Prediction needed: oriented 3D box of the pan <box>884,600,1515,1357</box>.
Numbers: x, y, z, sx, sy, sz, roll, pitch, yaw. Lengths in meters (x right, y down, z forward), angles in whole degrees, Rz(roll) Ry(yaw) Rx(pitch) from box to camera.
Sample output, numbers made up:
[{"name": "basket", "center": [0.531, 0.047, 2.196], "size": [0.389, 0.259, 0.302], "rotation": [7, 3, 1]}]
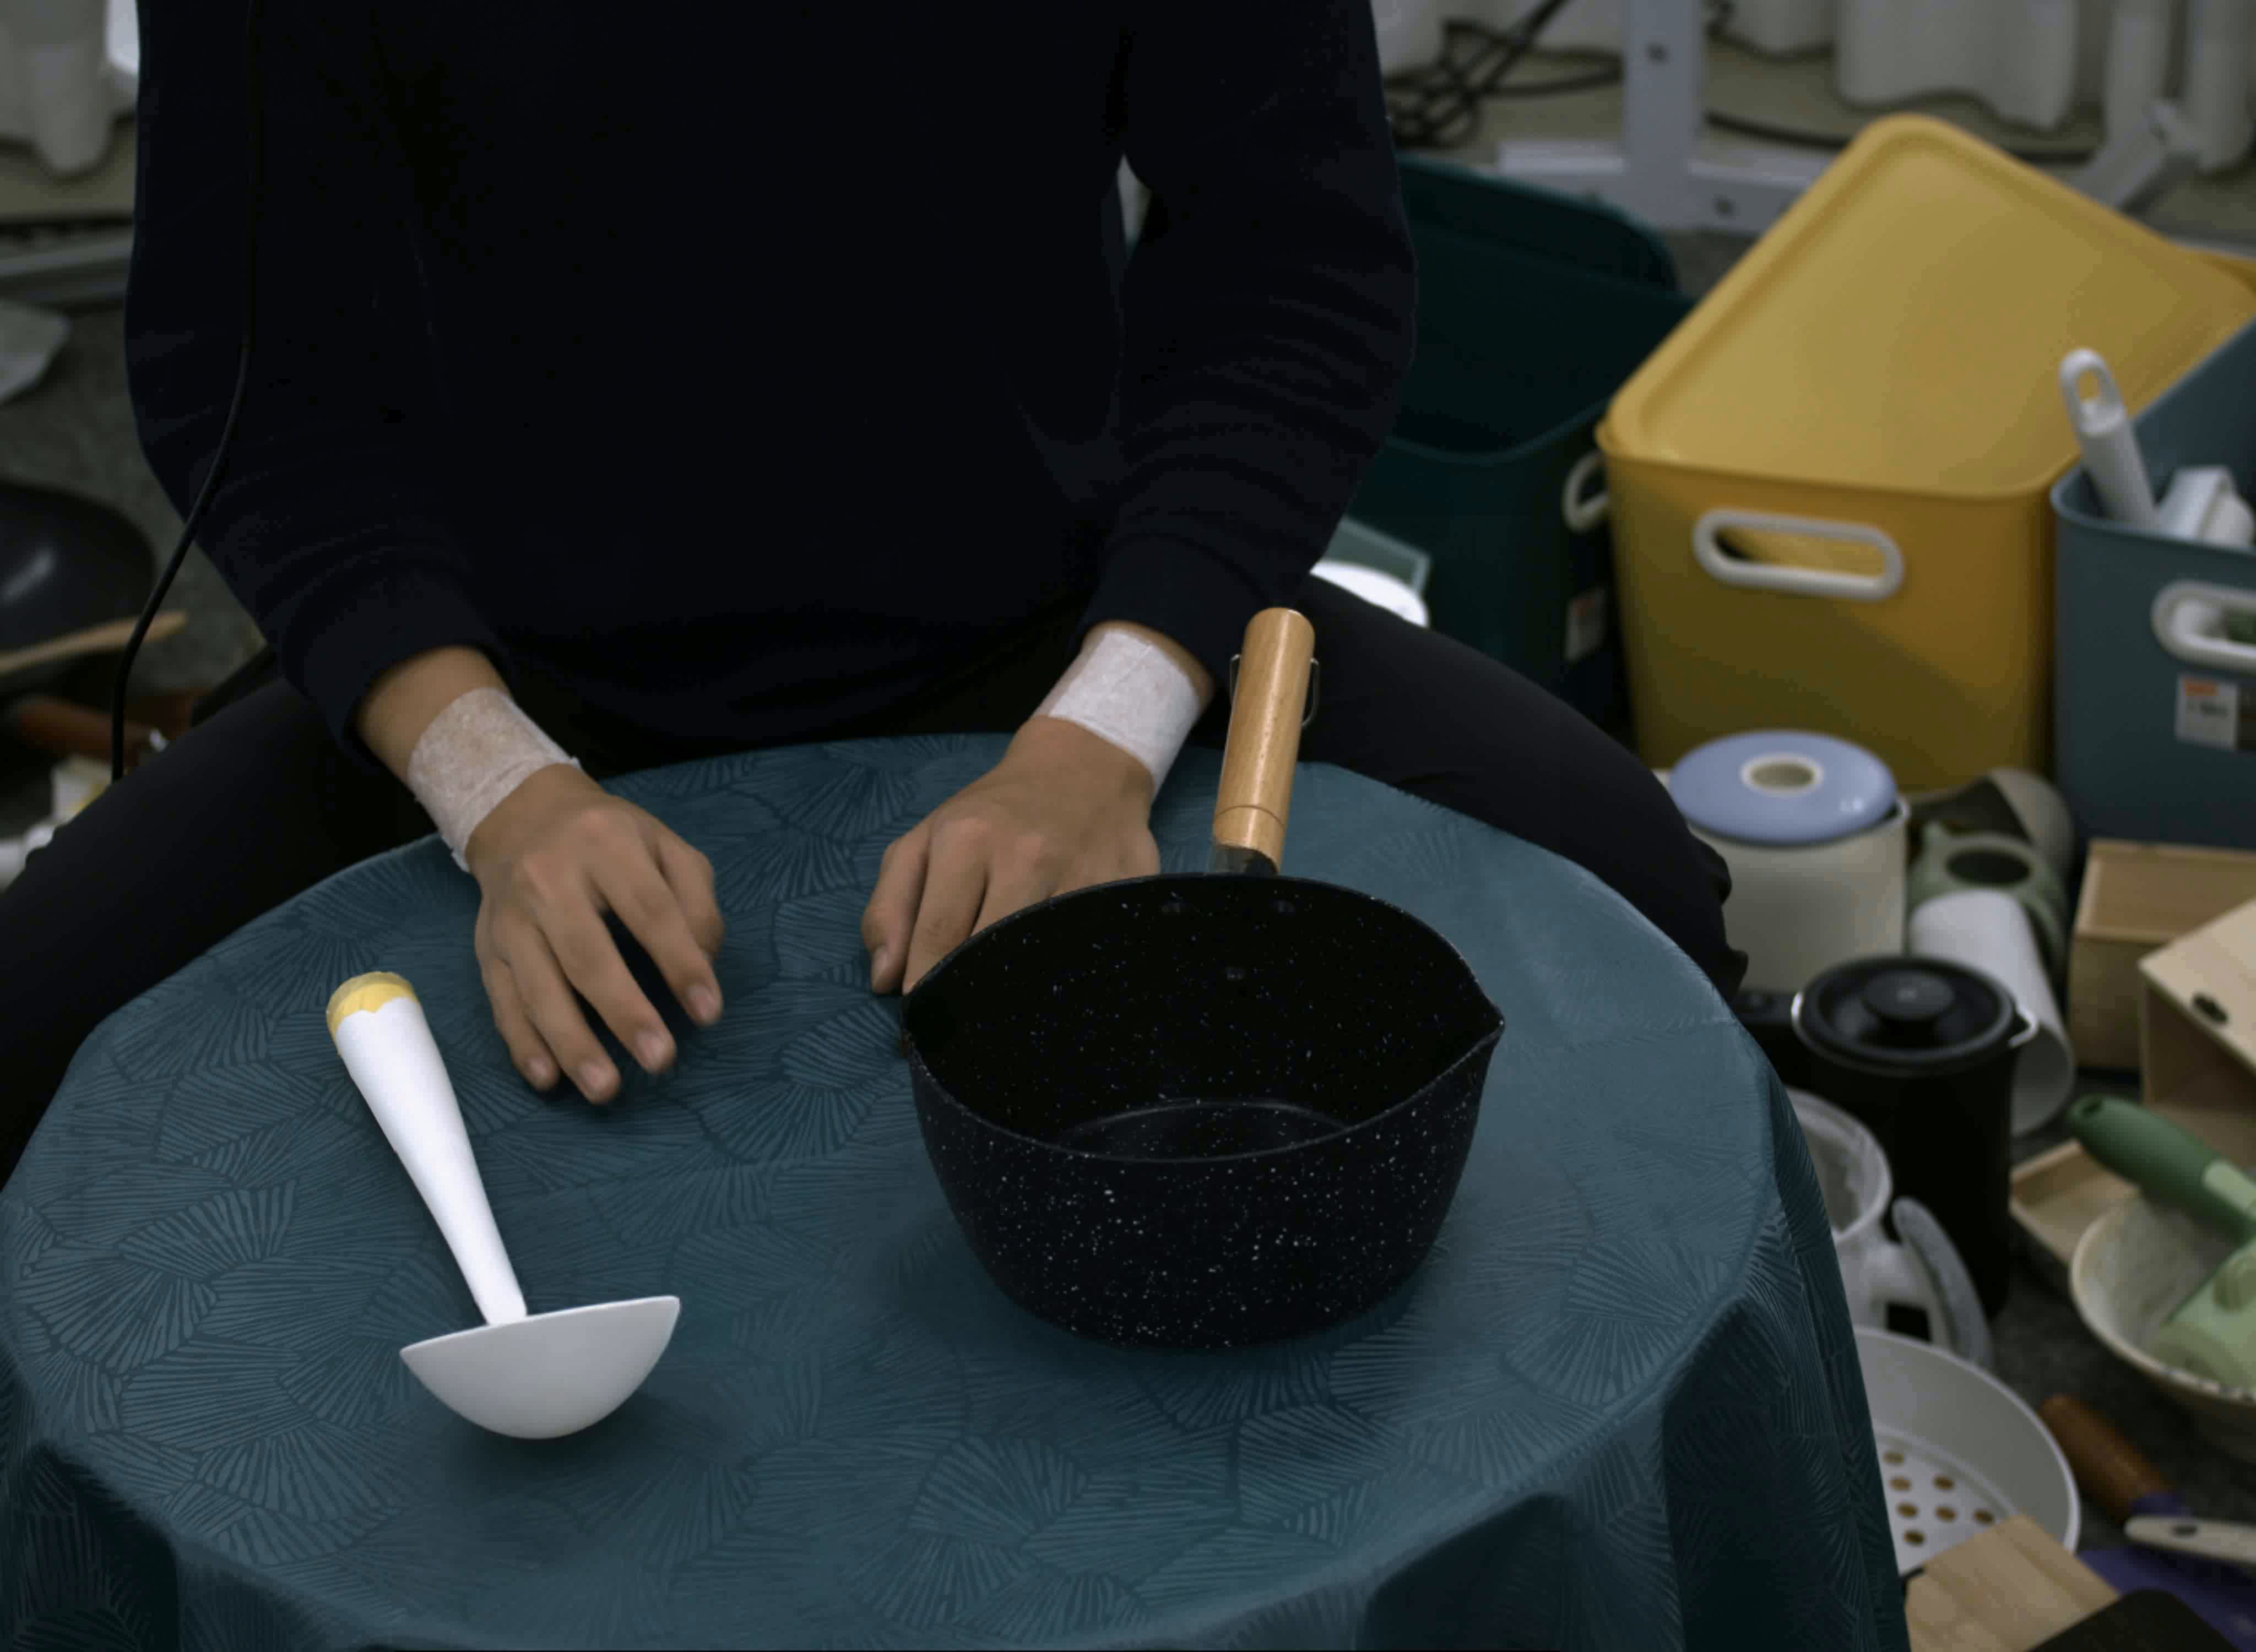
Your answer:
[{"name": "pan", "center": [0.032, 0.048, 1.886], "size": [0.206, 0.107, 0.349], "rotation": [0, 29, 8]}]

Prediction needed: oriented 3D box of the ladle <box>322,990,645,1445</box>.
[{"name": "ladle", "center": [-0.224, 0.116, 1.828], "size": [0.090, 0.069, 0.295], "rotation": [-16, 29, -11]}]
